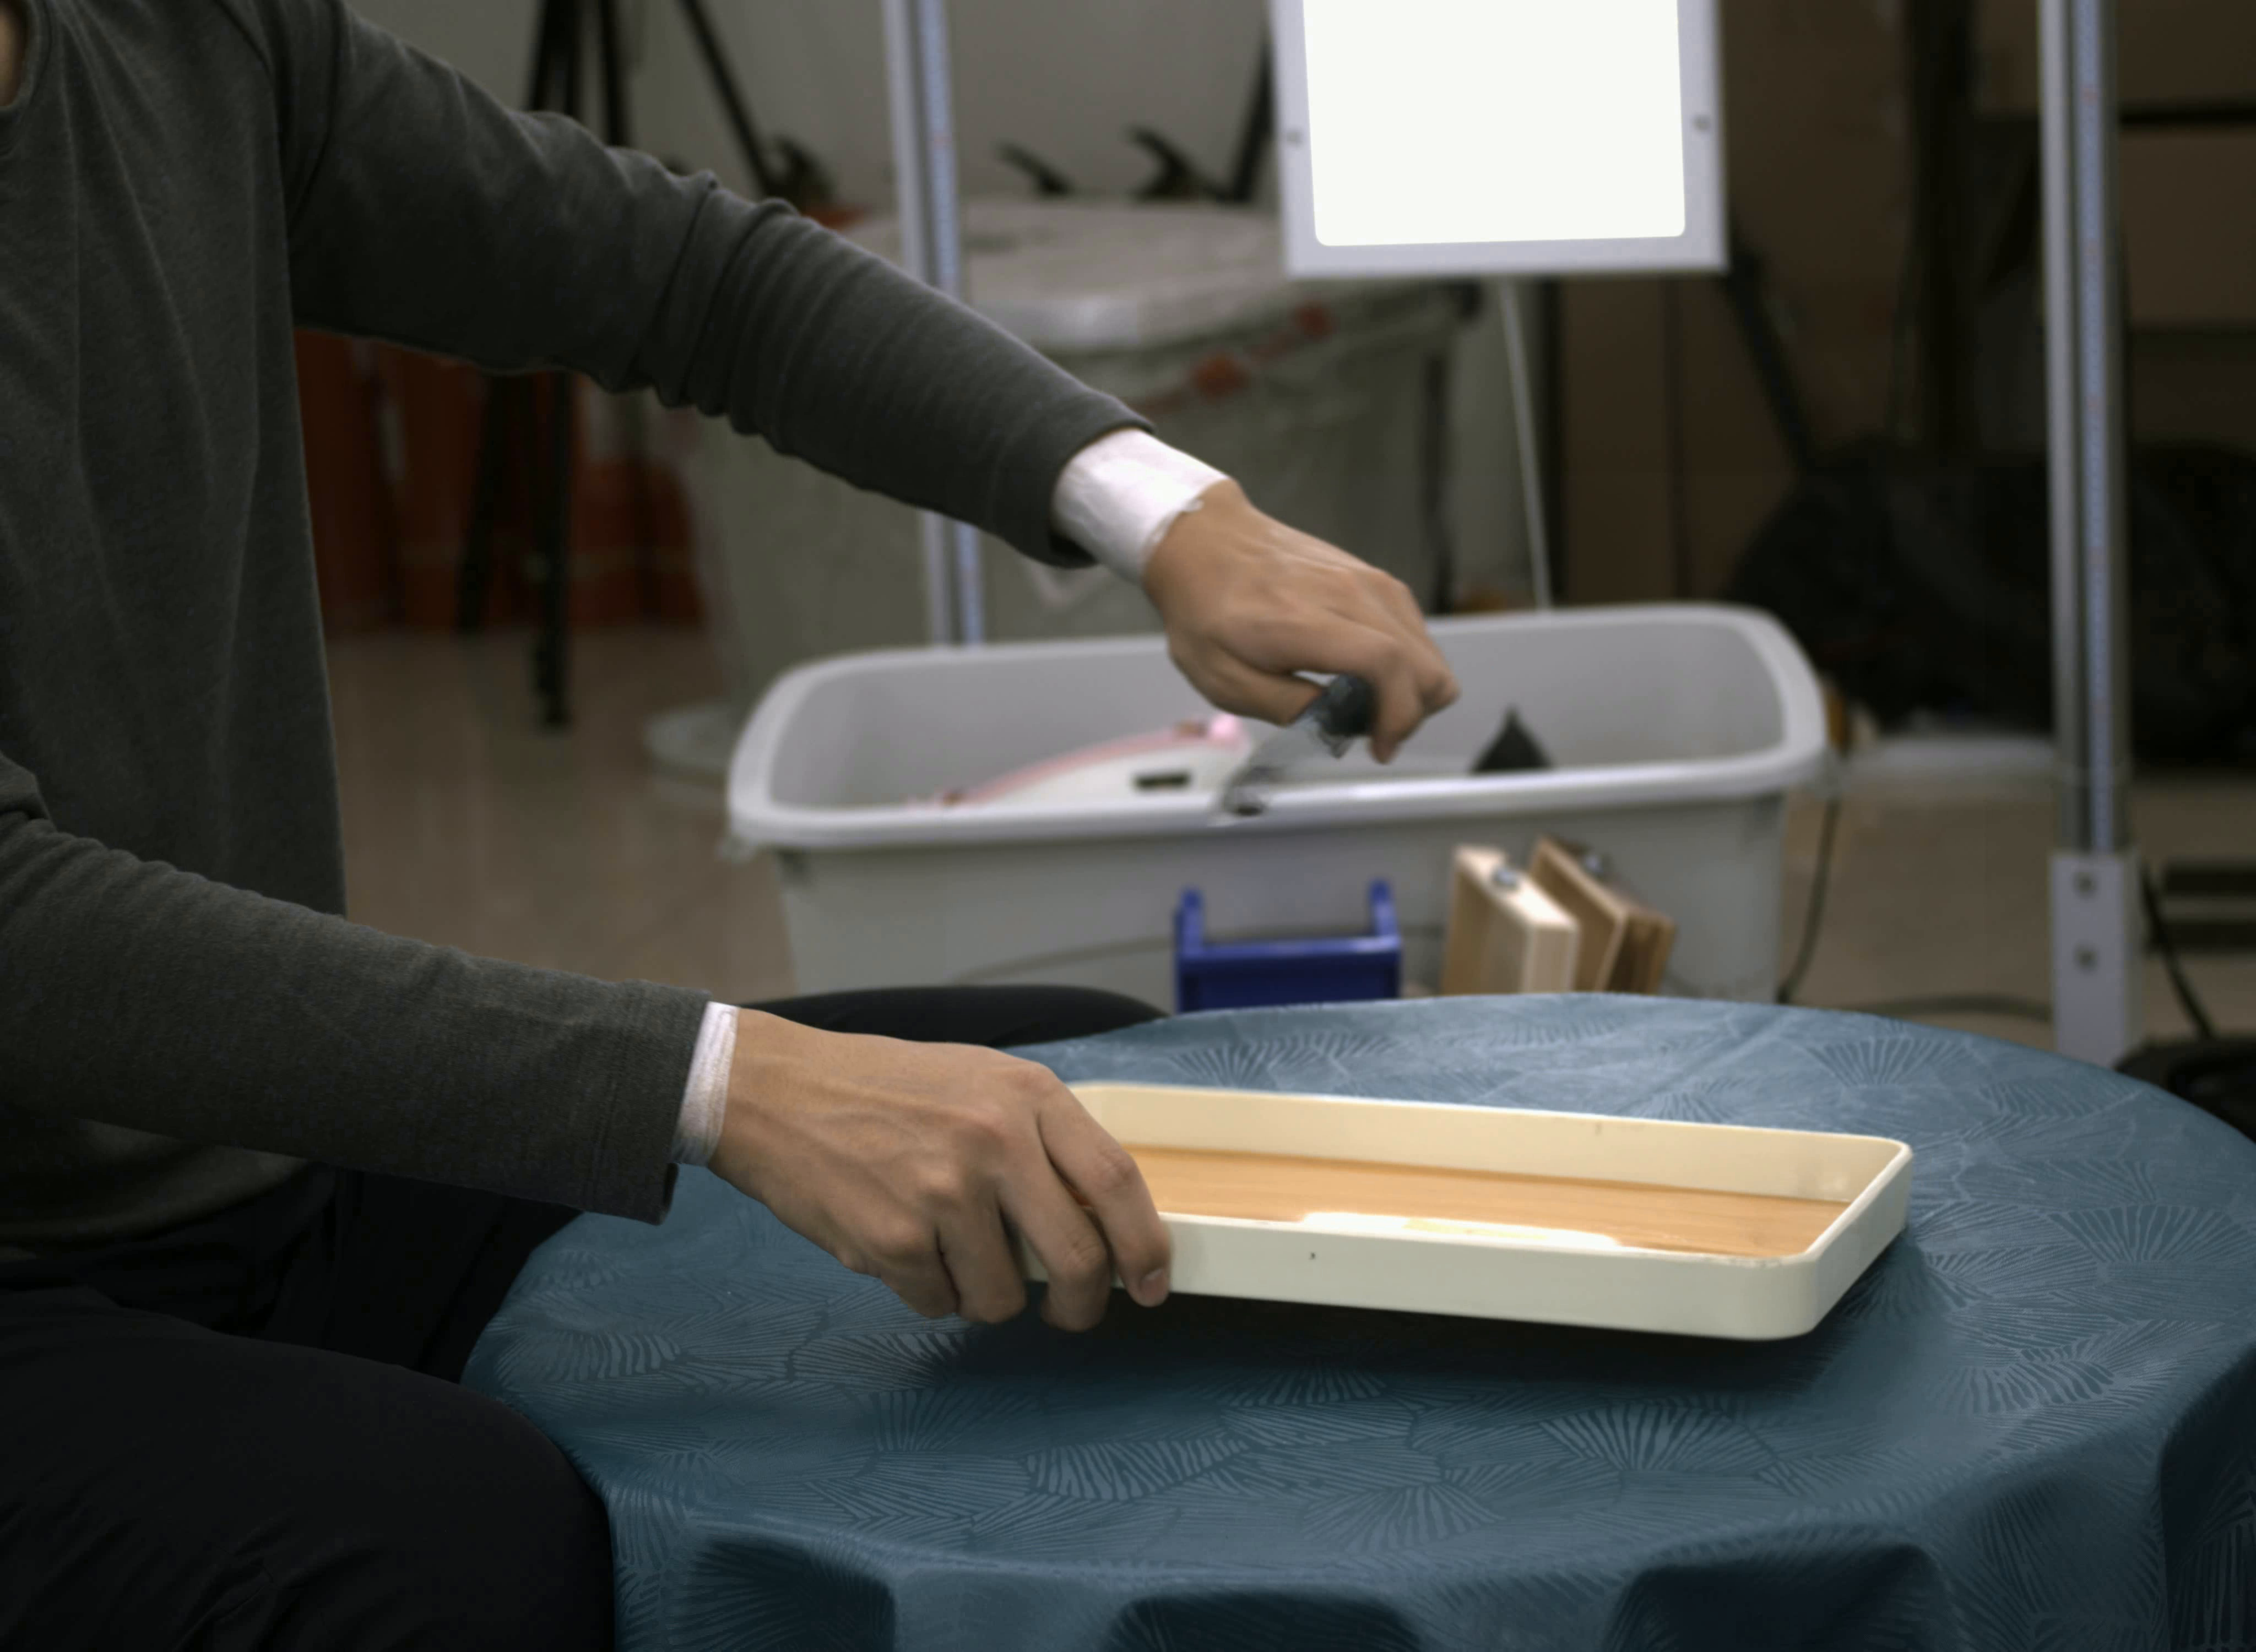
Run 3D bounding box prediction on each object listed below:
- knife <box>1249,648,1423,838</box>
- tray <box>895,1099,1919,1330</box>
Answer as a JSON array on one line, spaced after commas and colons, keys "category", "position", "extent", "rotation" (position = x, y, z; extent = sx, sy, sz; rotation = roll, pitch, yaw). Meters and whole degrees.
[{"category": "knife", "position": [0.070, -0.029, 1.928], "extent": [0.024, 0.016, 0.234], "rotation": [28, 21, 7]}, {"category": "tray", "position": [0.093, 0.123, 1.771], "extent": [0.304, 0.027, 0.188], "rotation": [2, 8, 21]}]
